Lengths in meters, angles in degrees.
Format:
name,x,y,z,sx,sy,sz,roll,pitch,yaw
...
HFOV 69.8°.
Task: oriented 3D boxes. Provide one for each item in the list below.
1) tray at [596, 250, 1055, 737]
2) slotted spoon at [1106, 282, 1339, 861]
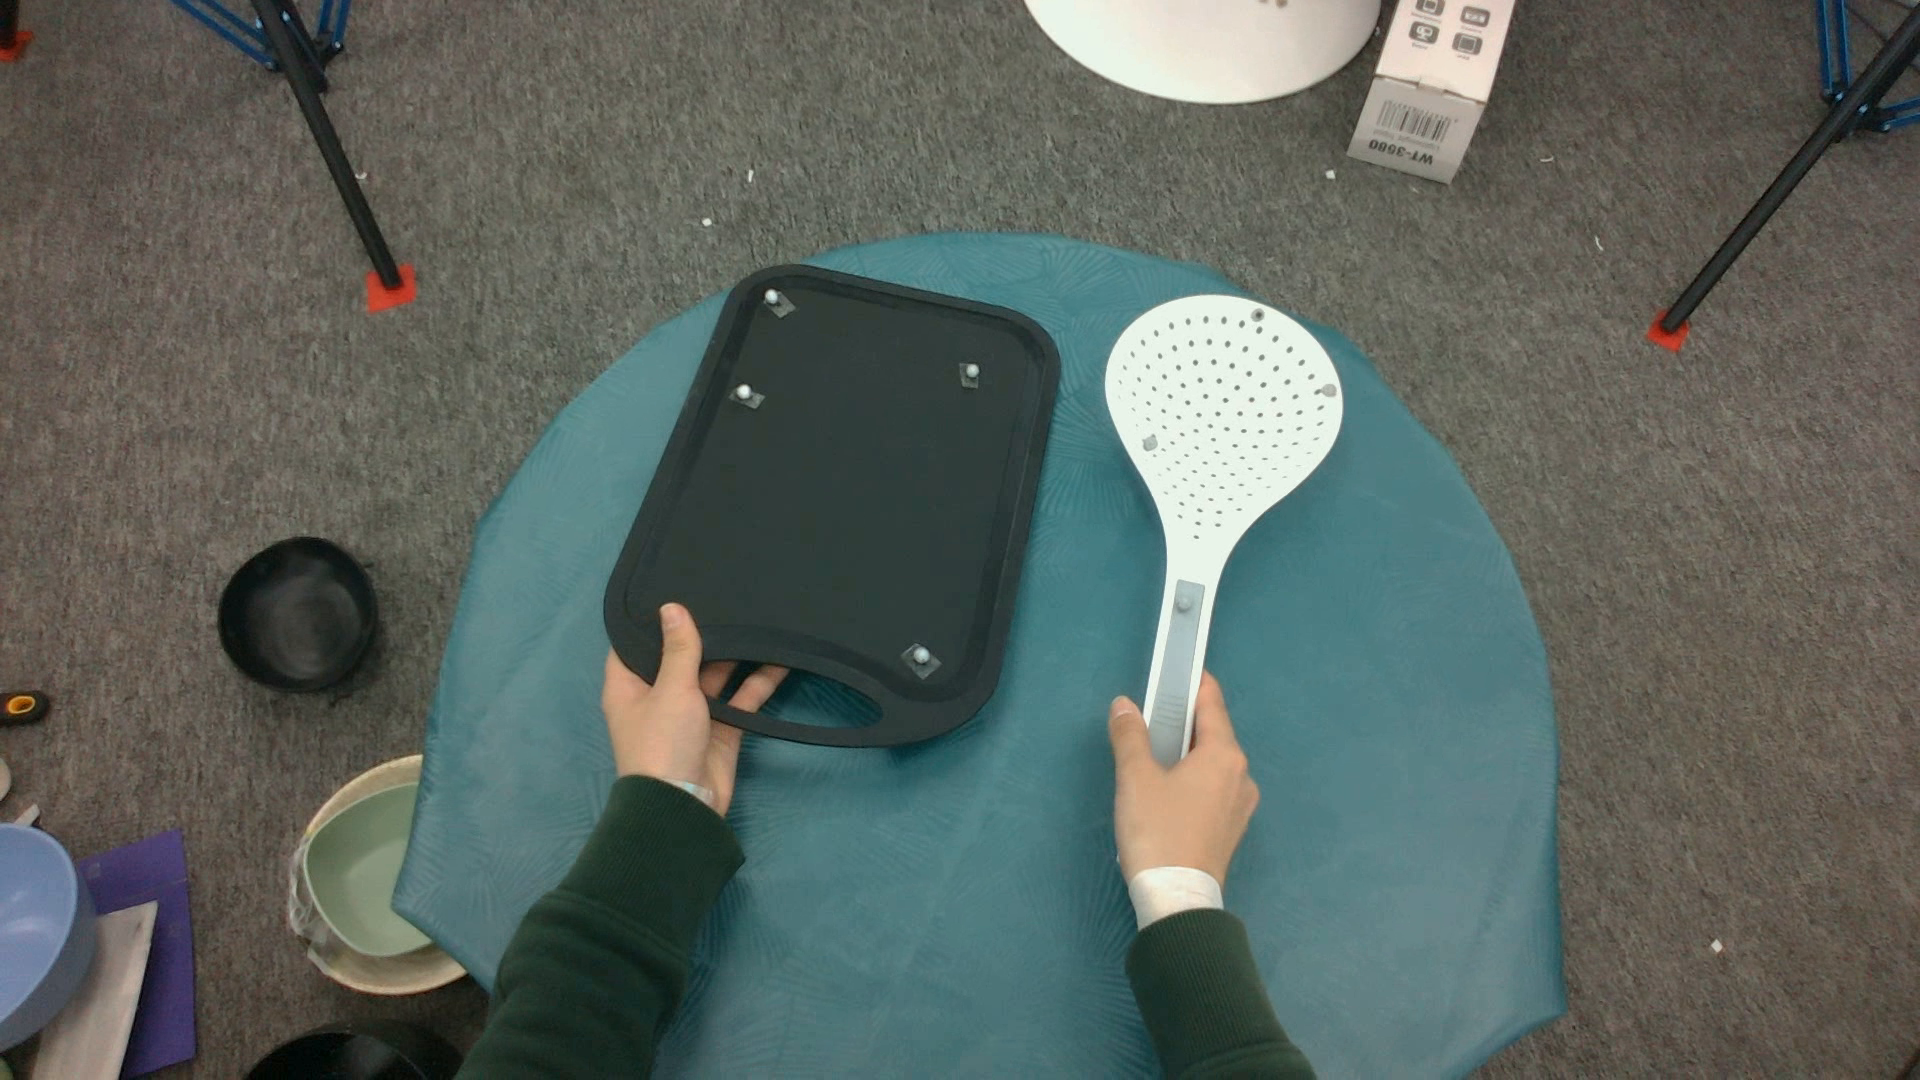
name,x,y,z,sx,sy,sz,roll,pitch,yaw
tray,-0.066,-0.039,0.770,0.211,0.010,0.327,12,55,1
slotted spoon,0.126,0.003,0.750,0.136,0.045,0.351,13,59,4
